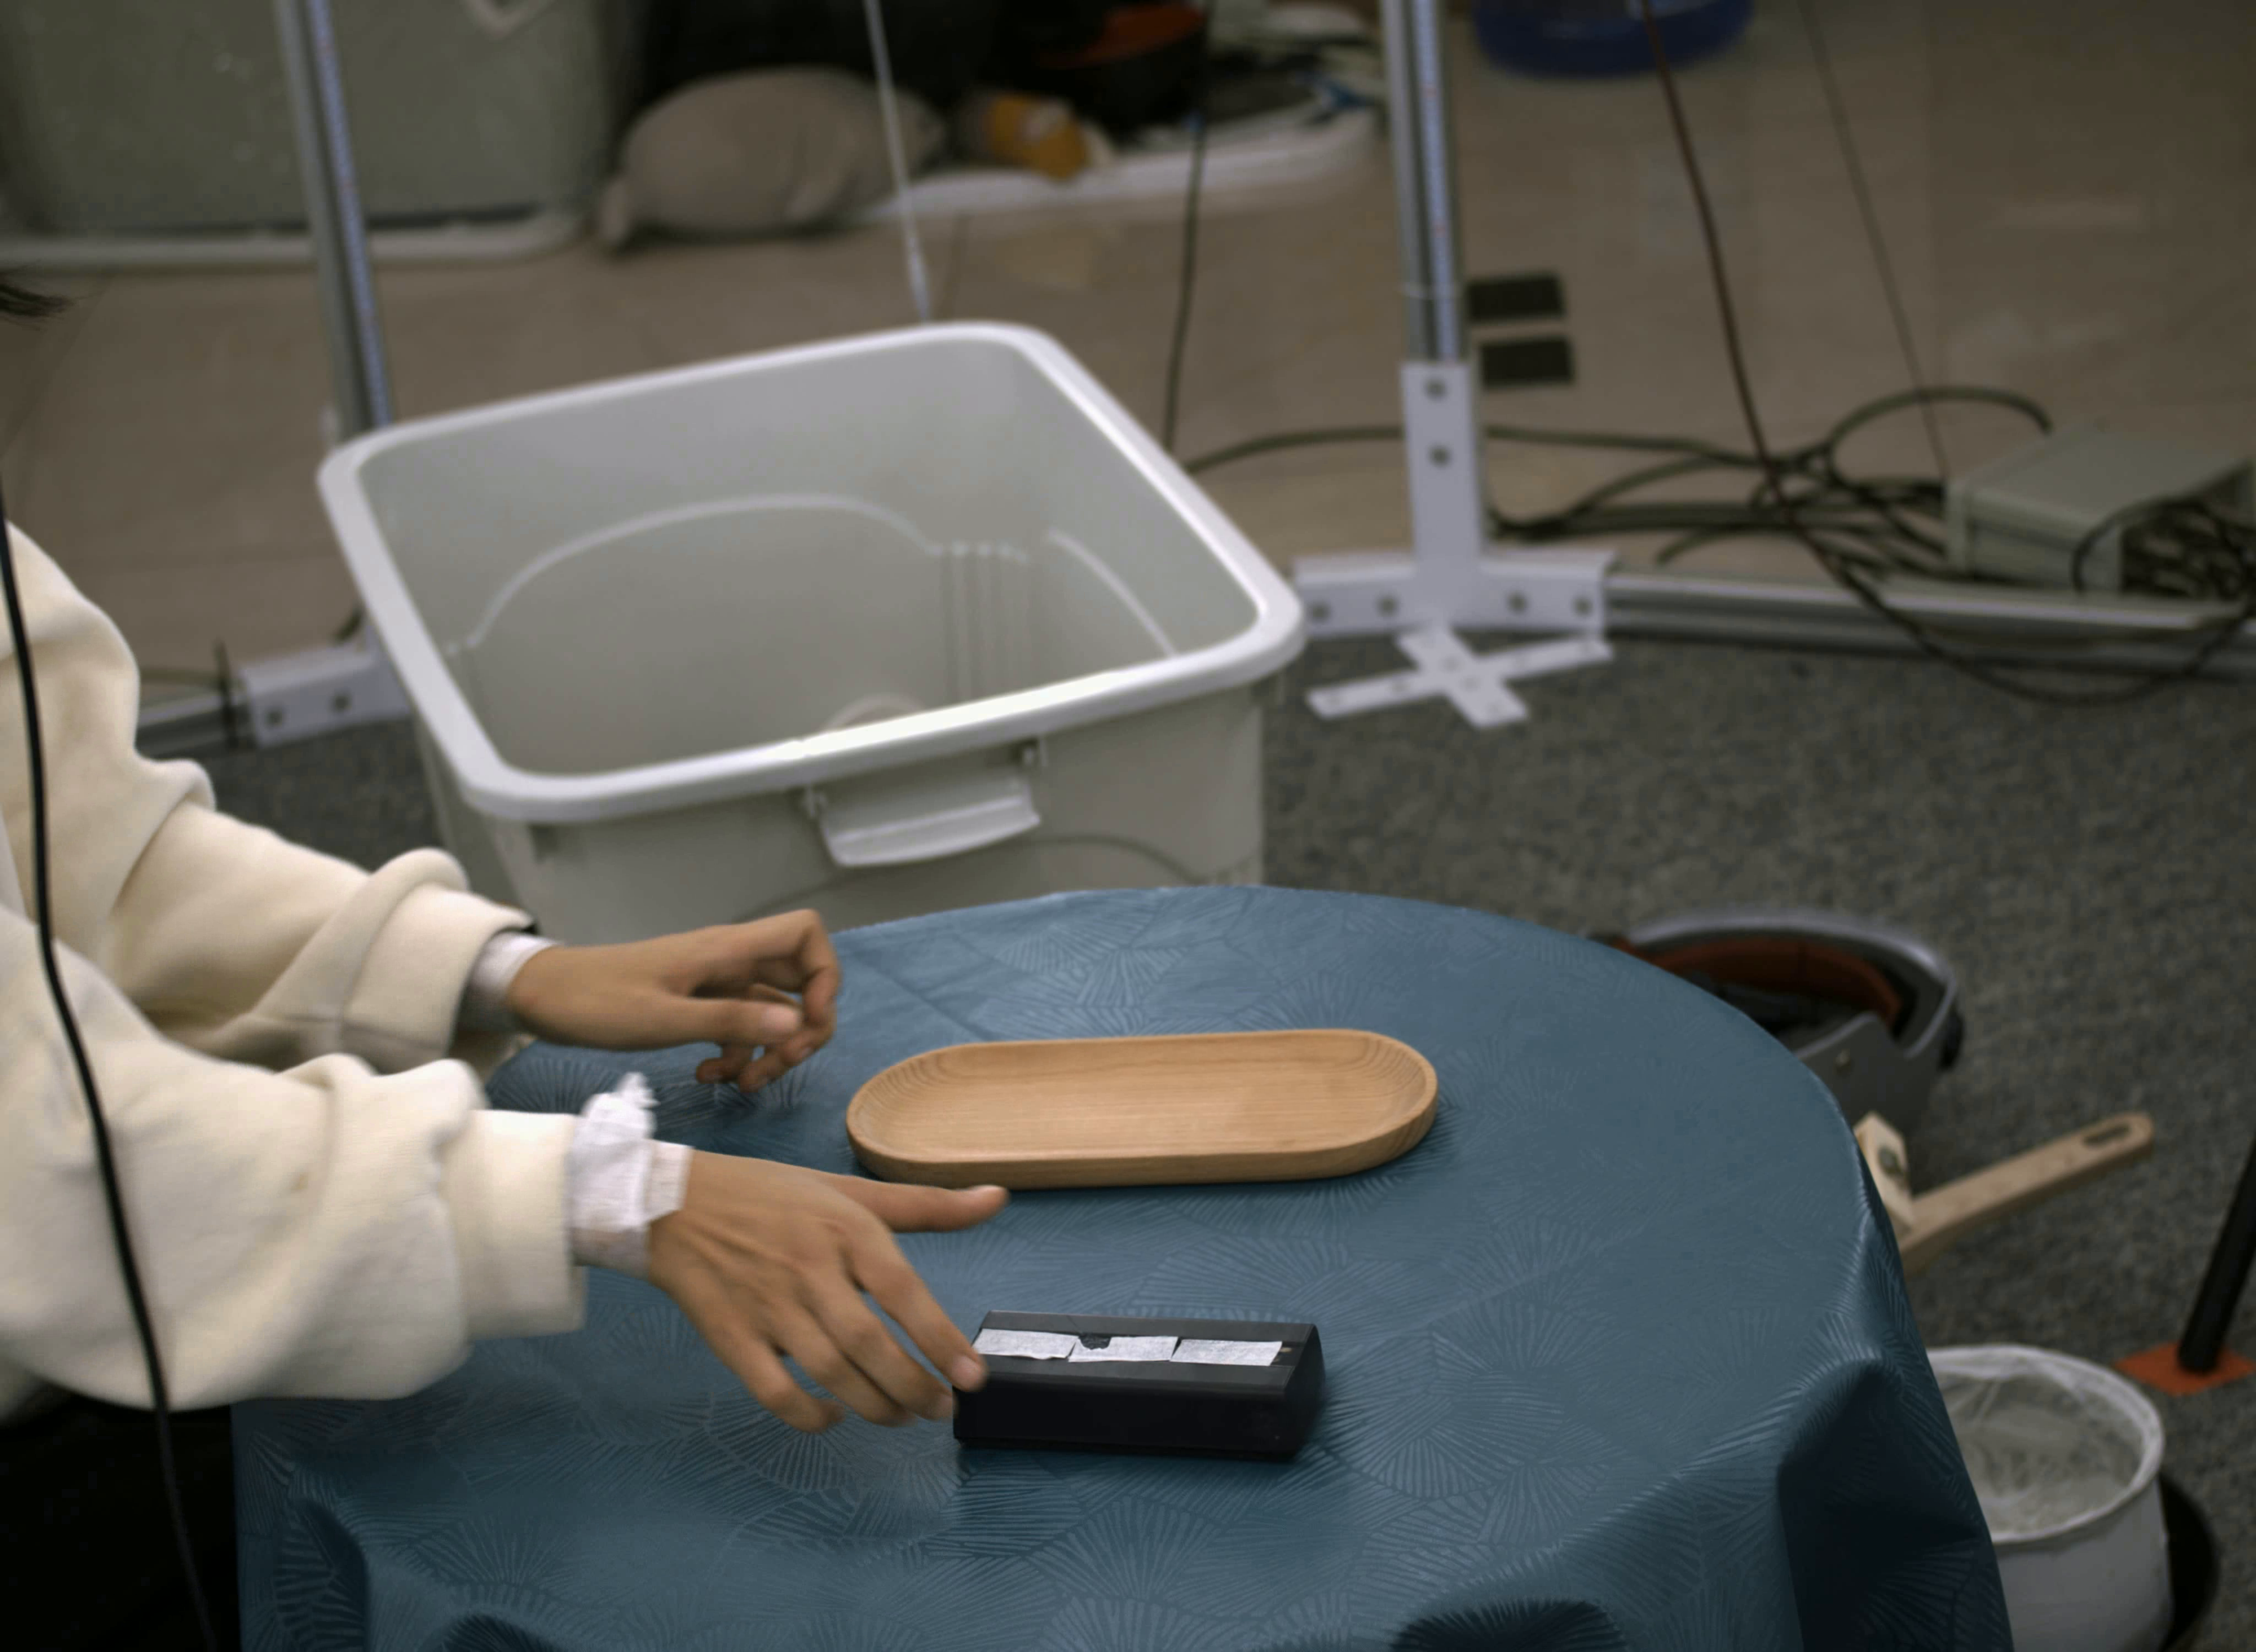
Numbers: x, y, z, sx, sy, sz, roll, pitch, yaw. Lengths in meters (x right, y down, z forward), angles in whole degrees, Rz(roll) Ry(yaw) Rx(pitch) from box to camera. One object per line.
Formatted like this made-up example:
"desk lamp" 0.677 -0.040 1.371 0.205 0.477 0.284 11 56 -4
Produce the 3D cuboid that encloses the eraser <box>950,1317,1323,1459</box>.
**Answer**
"eraser" 0.004 0.196 1.989 0.125 0.031 0.053 2 20 15

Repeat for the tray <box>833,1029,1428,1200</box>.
"tray" 0.001 0.112 2.187 0.231 0.020 0.100 -5 24 8
